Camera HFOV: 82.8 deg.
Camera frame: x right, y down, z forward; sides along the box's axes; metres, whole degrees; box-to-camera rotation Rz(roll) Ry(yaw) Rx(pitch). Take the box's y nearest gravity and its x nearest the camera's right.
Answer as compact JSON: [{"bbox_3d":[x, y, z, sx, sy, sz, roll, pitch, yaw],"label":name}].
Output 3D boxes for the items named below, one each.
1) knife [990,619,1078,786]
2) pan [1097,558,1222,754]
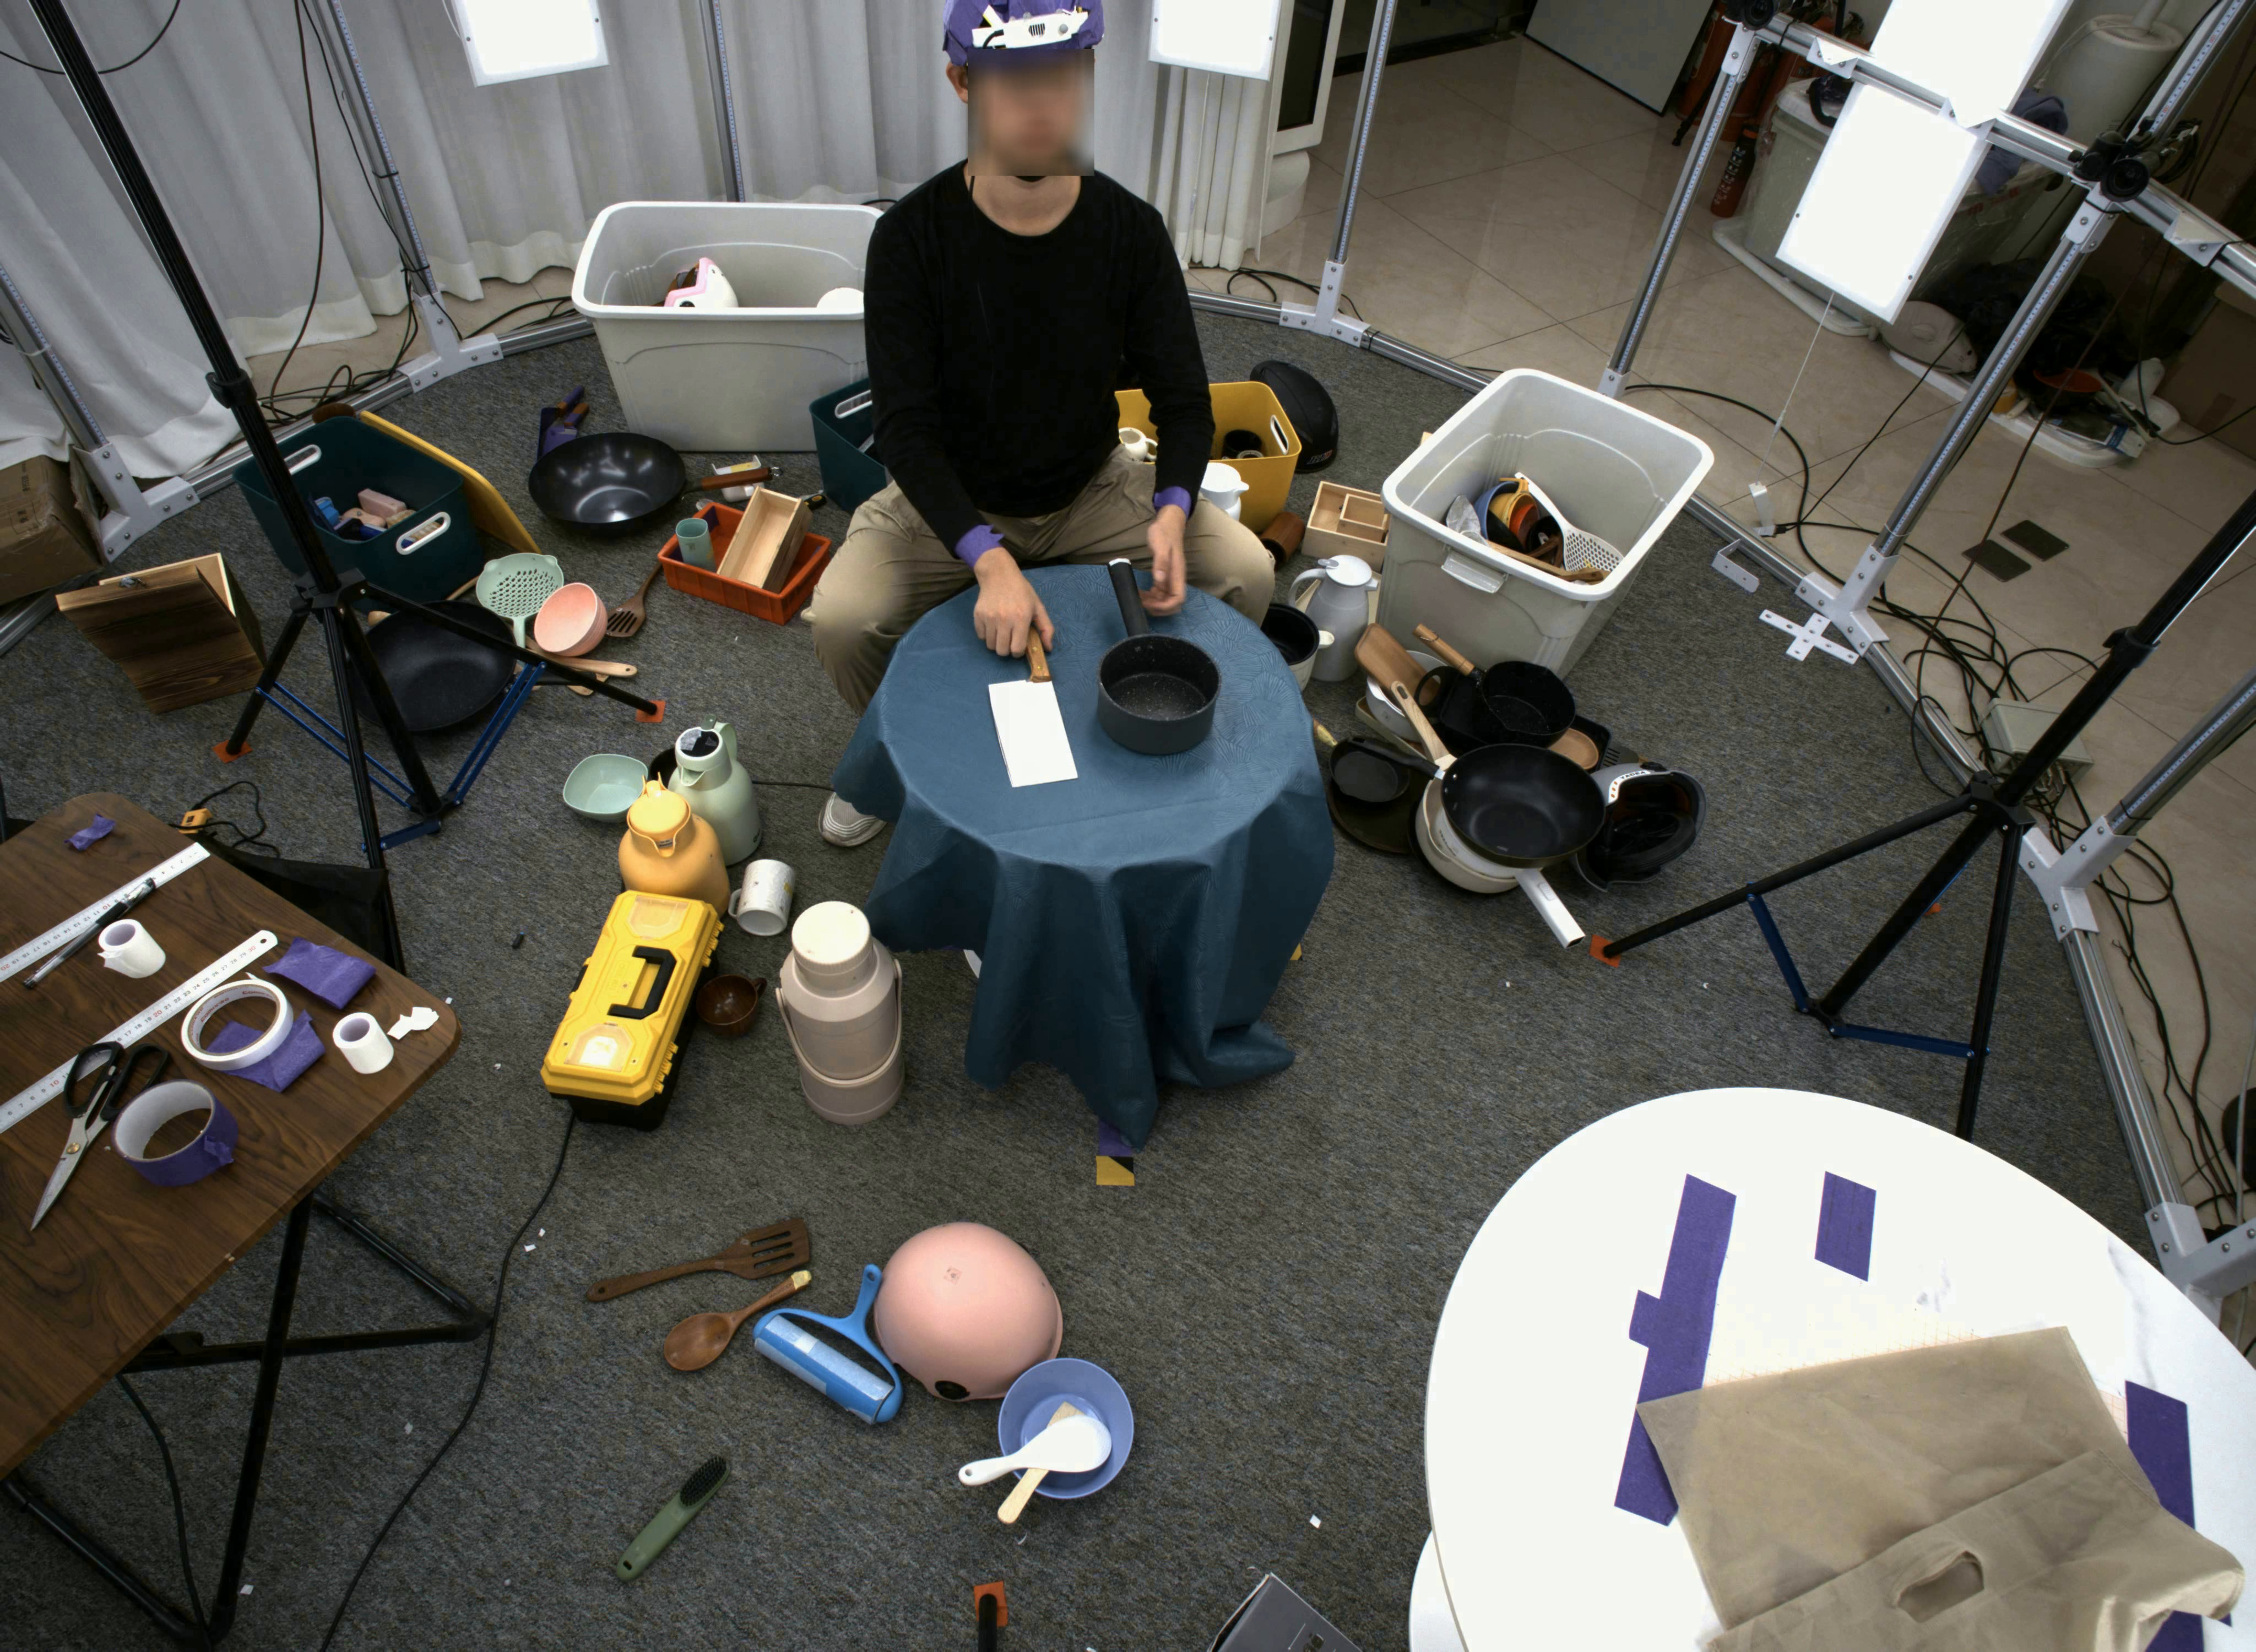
[{"bbox_3d":[-0.143,-0.177,1.804,0.093,0.020,0.313,-9,53,-10],"label":"knife"},{"bbox_3d":[0.026,-0.244,1.830,0.172,0.084,0.337,-6,50,-9],"label":"pan"}]
